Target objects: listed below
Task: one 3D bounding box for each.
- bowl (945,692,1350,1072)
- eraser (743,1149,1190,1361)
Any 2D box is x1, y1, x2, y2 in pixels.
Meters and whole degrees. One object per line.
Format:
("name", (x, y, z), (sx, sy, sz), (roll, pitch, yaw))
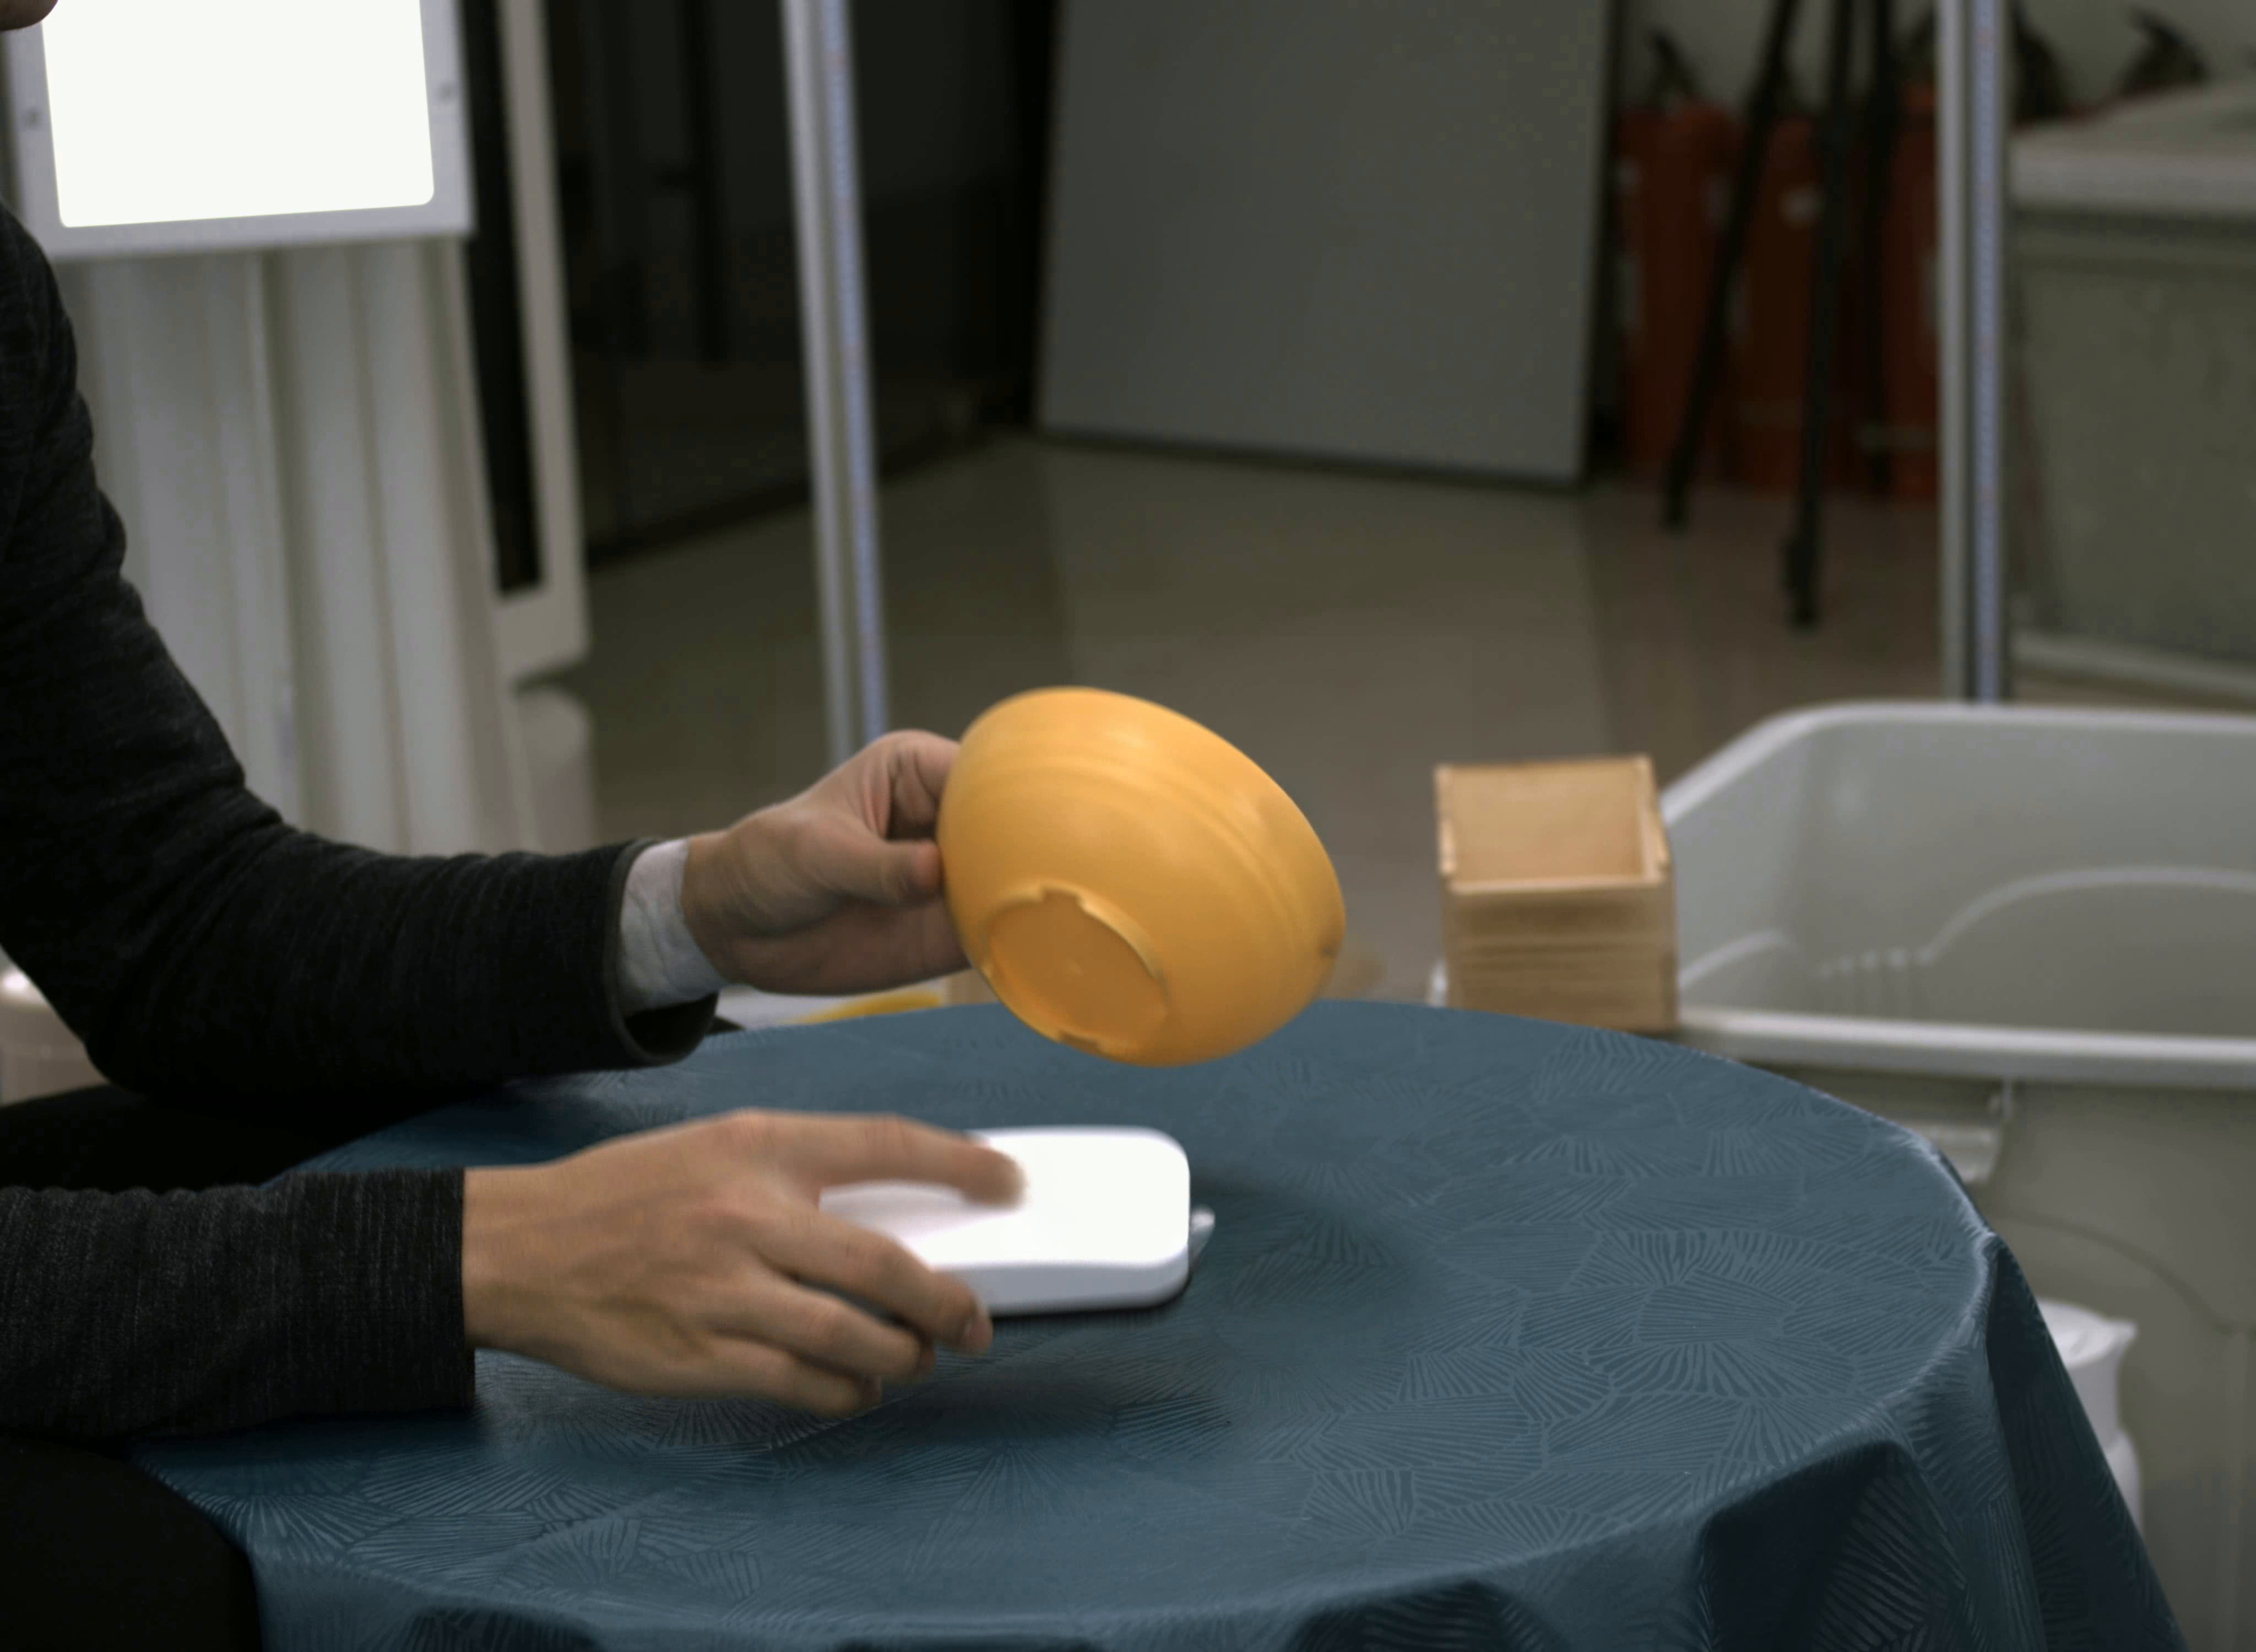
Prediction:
("bowl", (-0.004, 0.032, 1.740), (0.146, 0.145, 0.060), (5, 42, 30))
("eraser", (-0.046, 0.126, 1.580), (0.130, 0.035, 0.063), (-2, 31, 7))
